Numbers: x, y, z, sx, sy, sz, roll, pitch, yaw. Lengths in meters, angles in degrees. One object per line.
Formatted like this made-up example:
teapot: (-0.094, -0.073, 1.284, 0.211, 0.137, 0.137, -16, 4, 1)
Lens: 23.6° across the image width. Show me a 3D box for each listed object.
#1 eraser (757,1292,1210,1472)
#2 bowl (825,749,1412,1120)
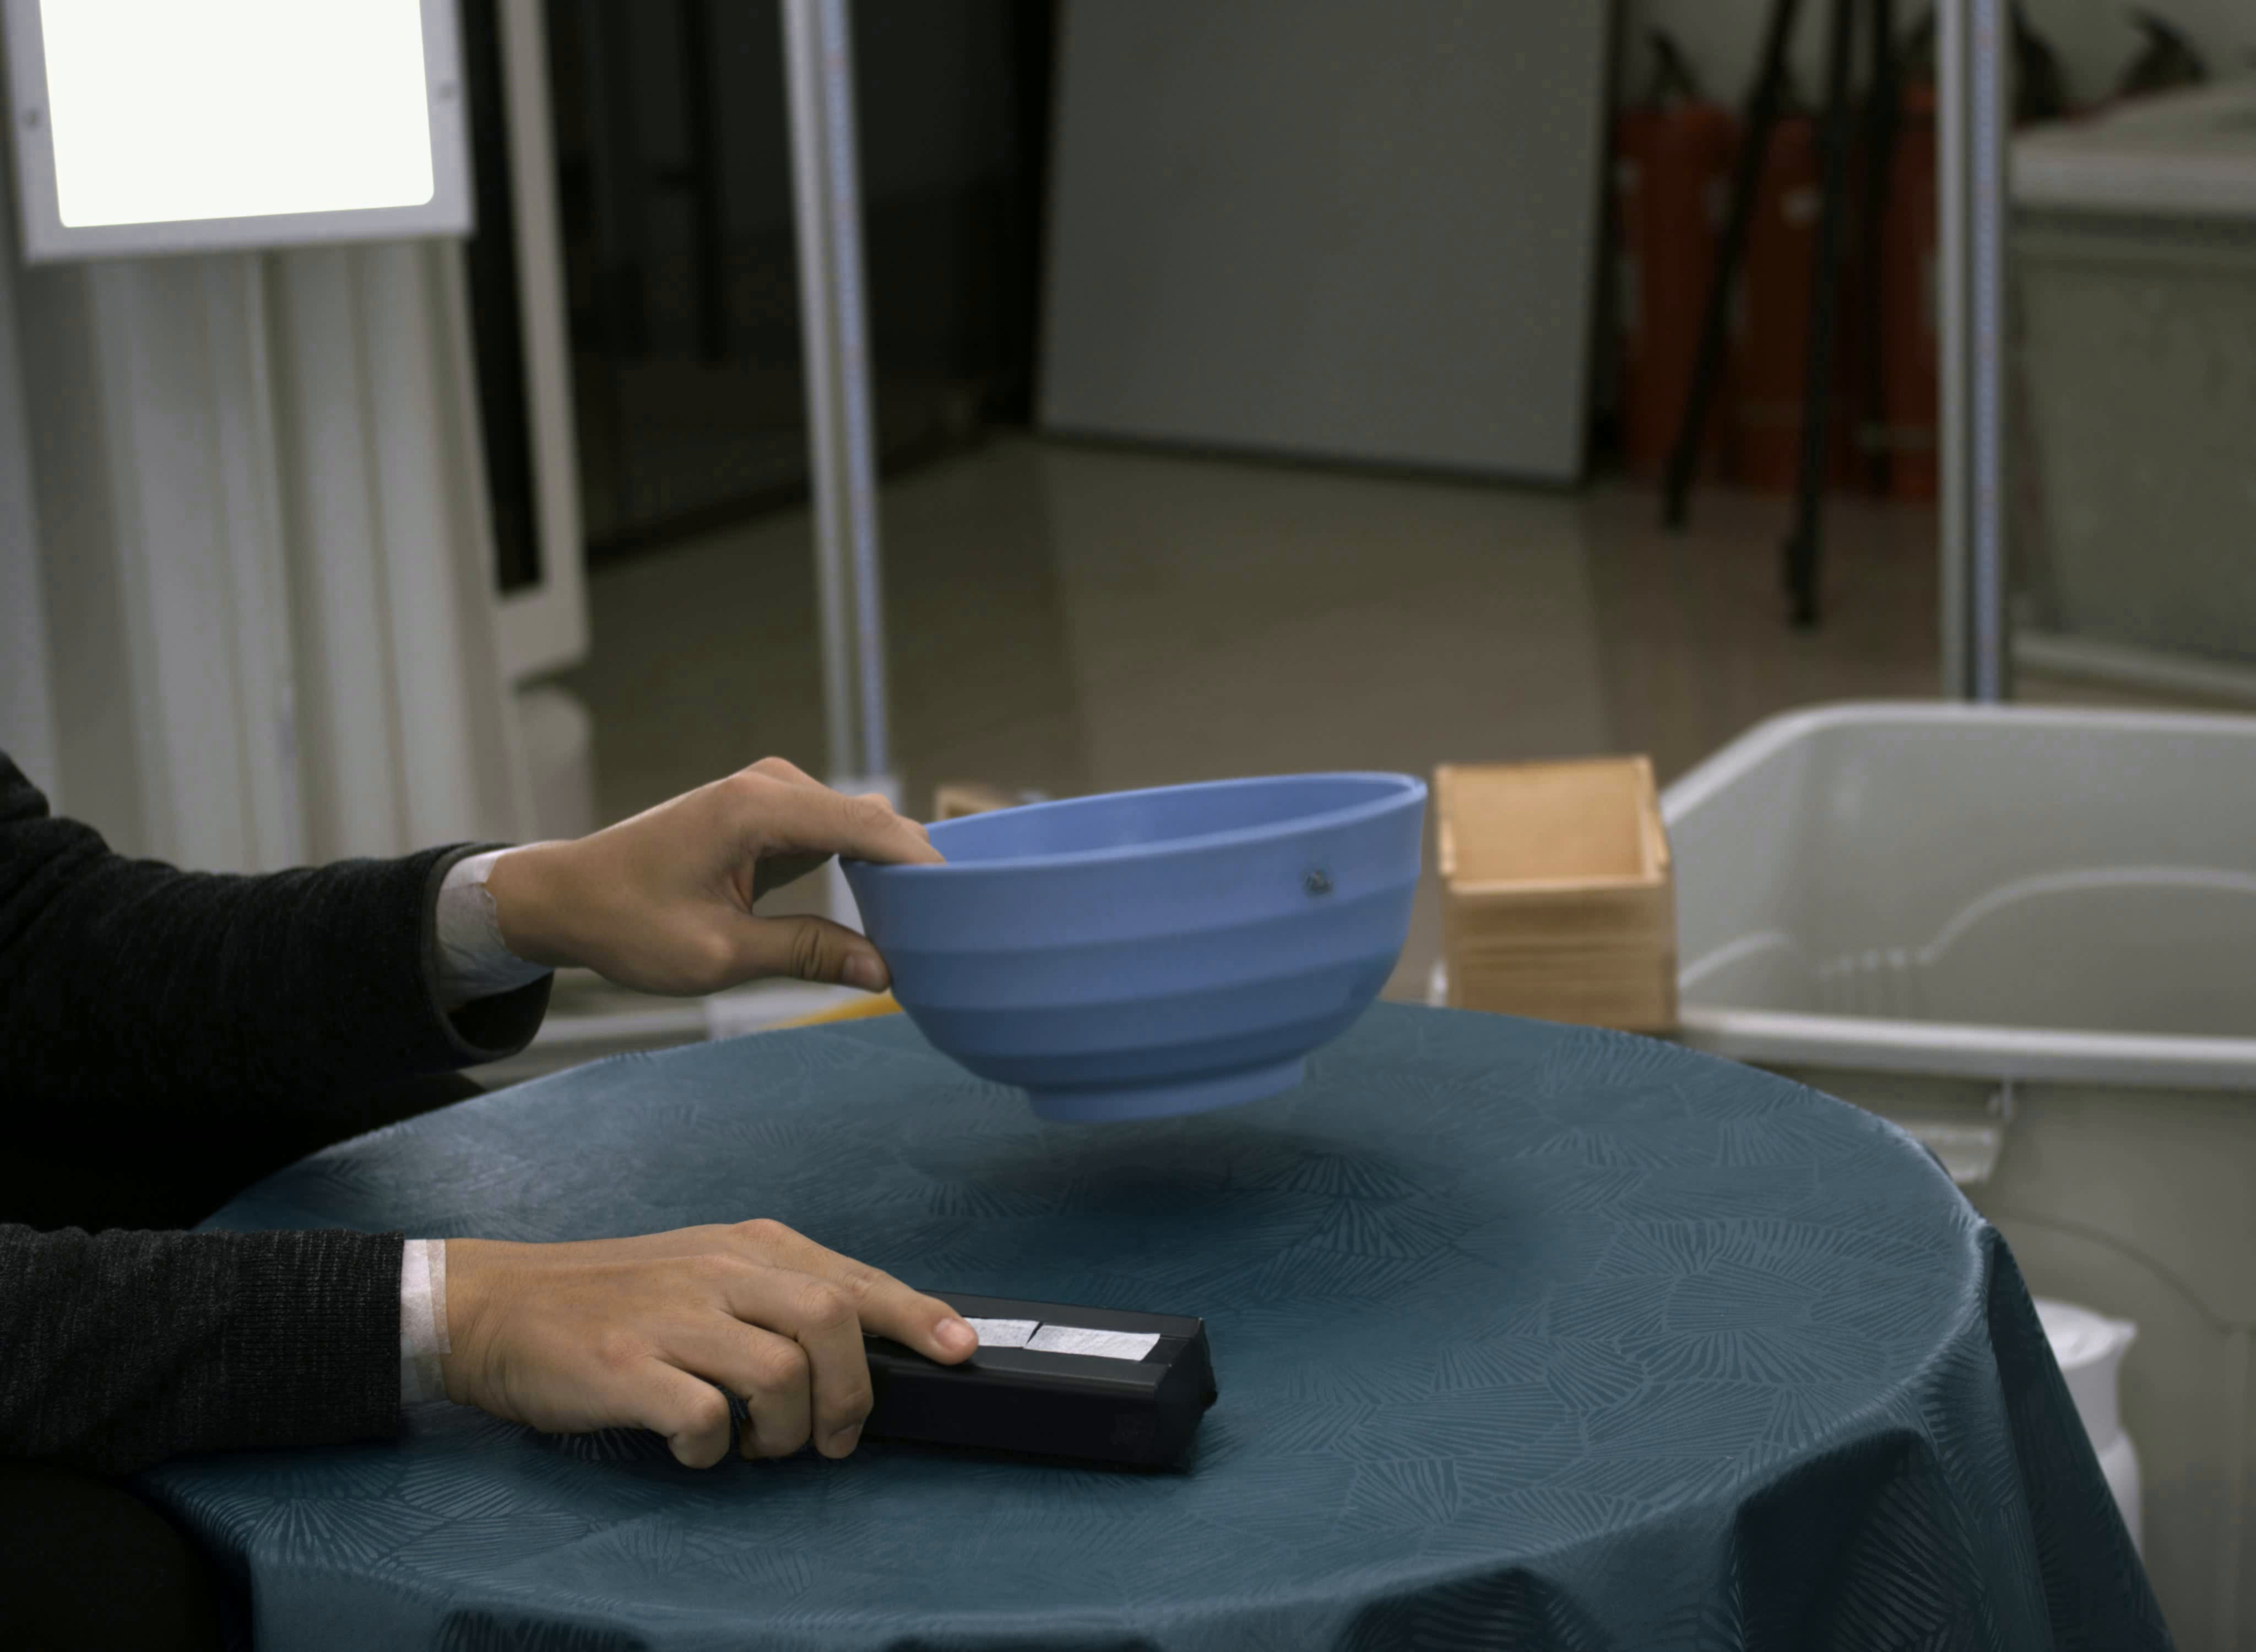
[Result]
eraser: (-0.040, 0.159, 1.550, 0.125, 0.031, 0.053, 3, 19, 18)
bowl: (0.002, 0.039, 1.778, 0.194, 0.096, 0.197, -7, 10, 0)
